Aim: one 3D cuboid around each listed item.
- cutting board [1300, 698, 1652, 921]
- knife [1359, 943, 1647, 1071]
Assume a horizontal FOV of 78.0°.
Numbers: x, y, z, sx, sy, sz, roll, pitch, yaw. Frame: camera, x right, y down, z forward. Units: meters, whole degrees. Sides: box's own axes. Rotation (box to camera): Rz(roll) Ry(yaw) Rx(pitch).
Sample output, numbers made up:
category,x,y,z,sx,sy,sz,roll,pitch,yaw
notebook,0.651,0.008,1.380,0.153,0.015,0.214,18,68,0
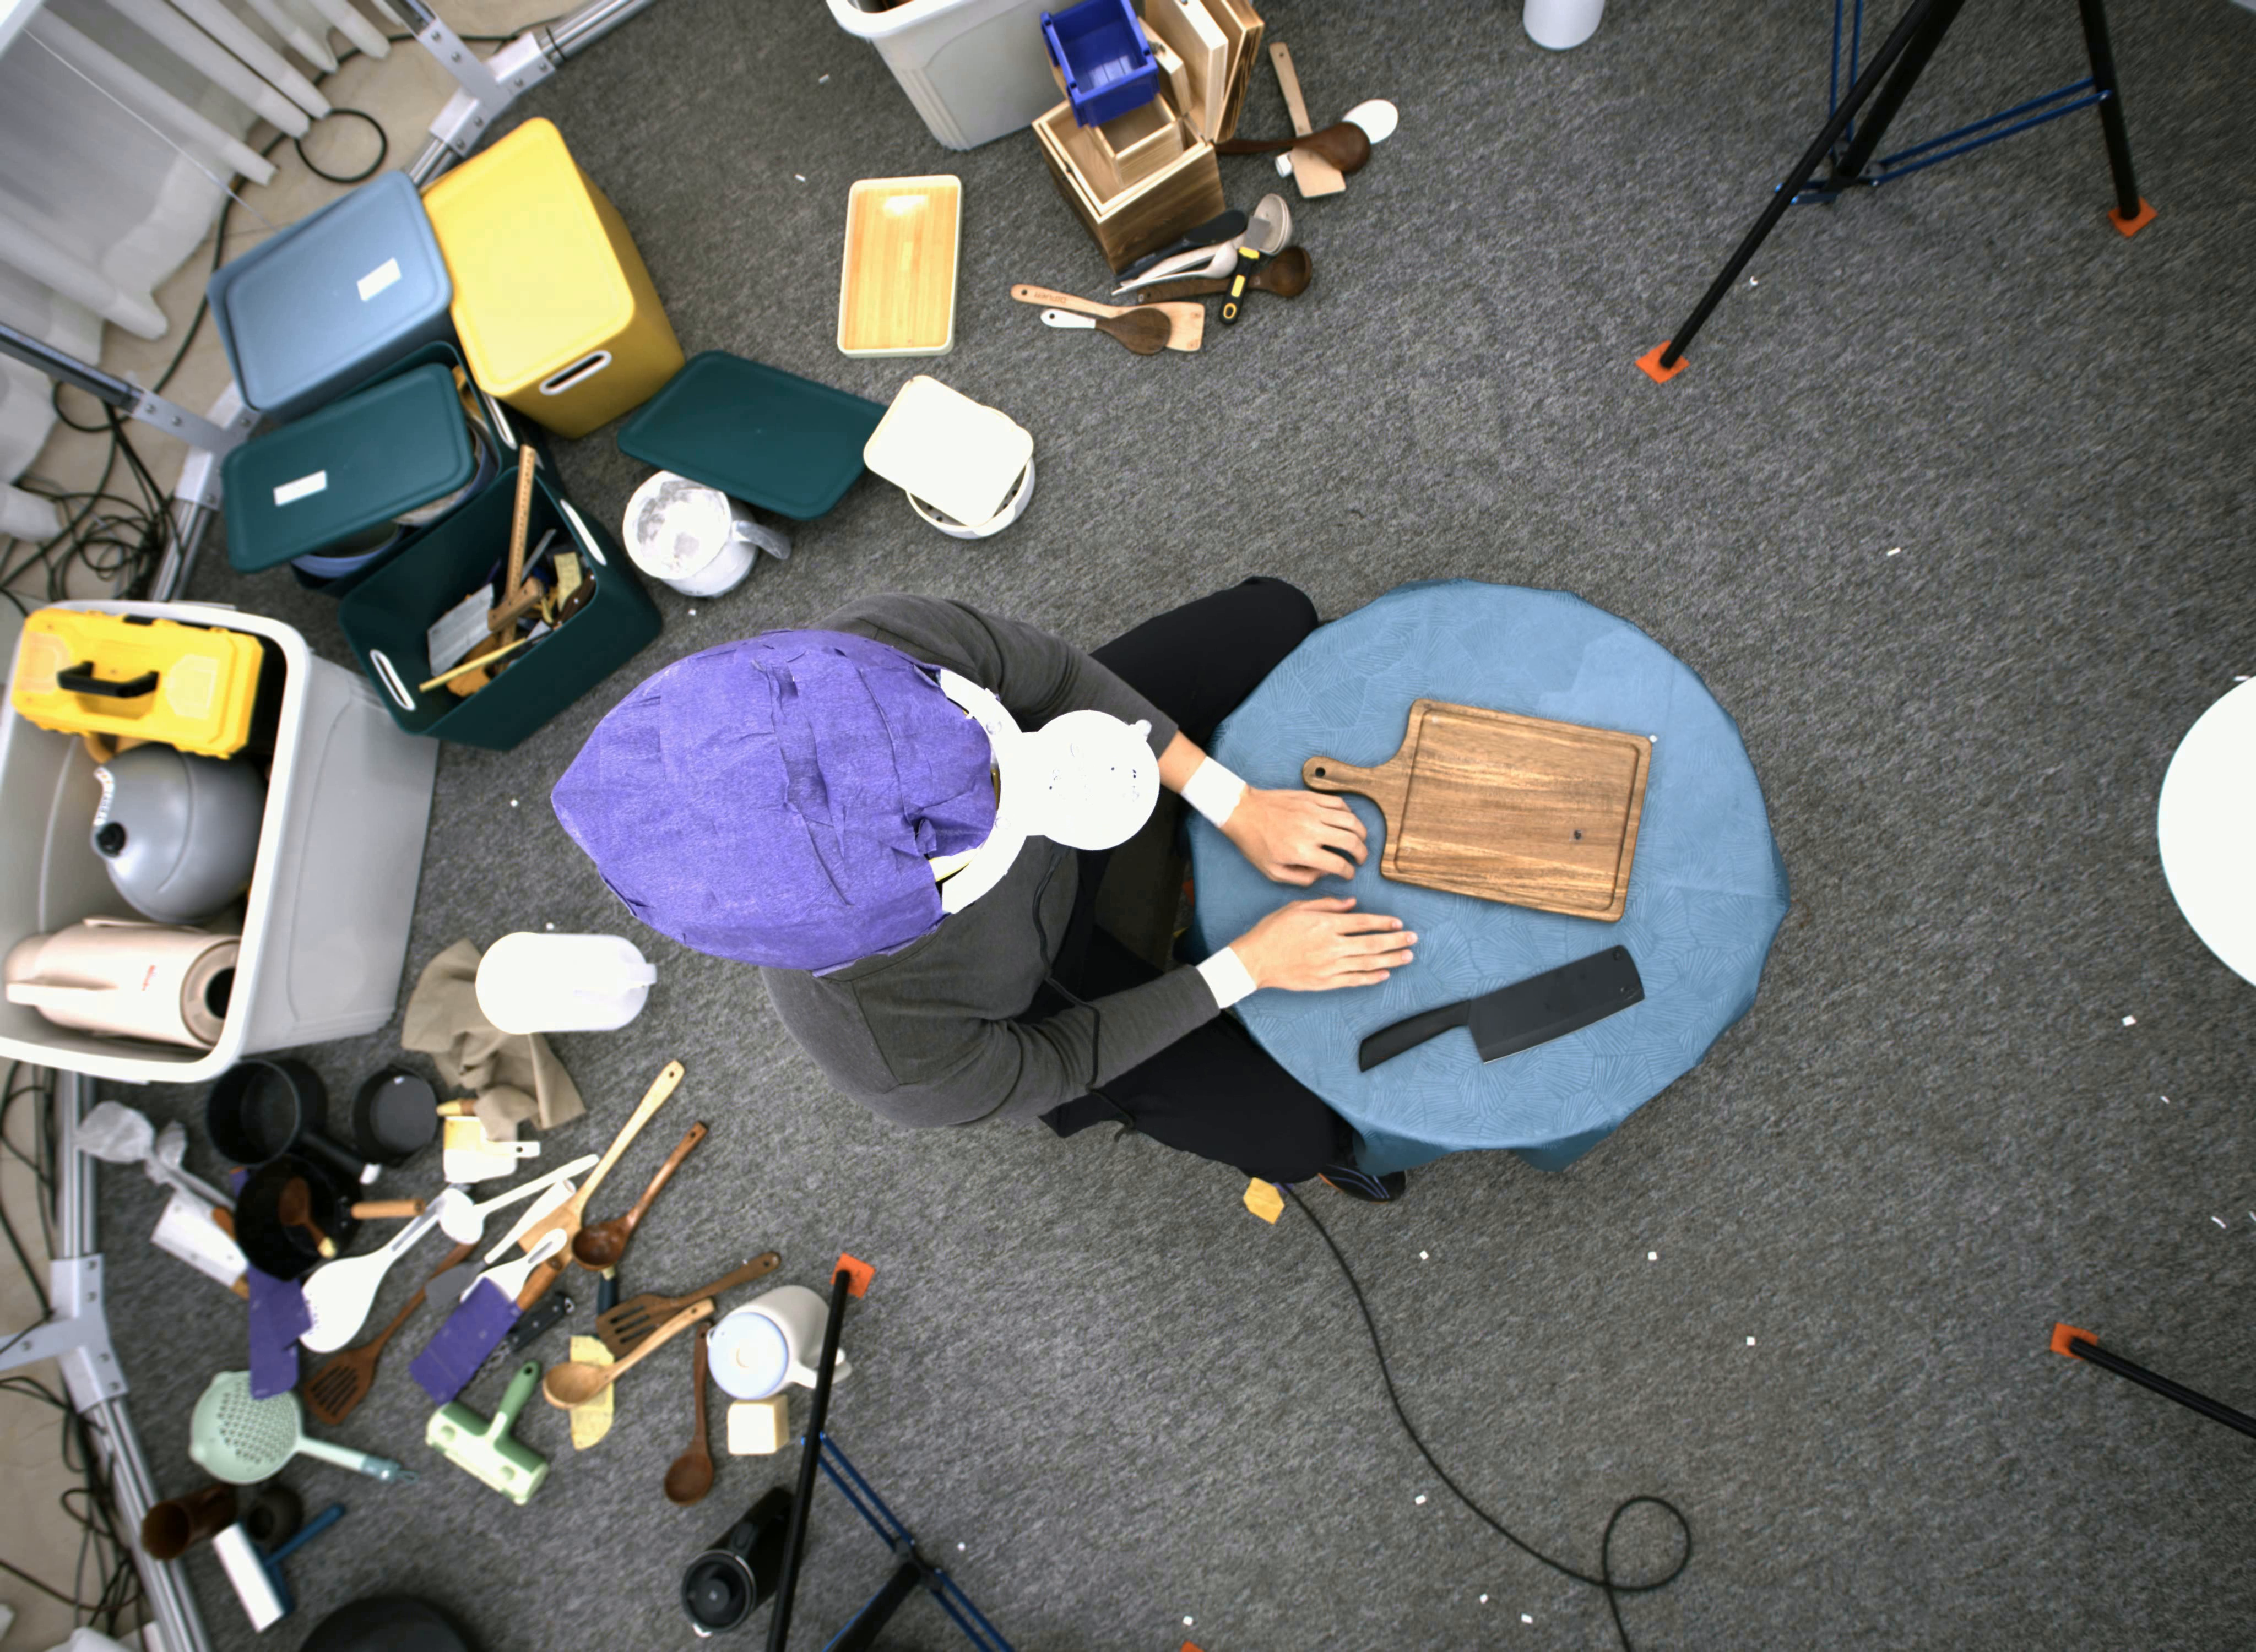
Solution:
category,x,y,z,sx,sy,sz,roll,pitch,yaw
cutting board,0.355,-0.030,1.439,0.353,0.023,0.200,10,88,11
knife,0.383,0.197,1.425,0.304,0.021,0.080,-17,84,7
